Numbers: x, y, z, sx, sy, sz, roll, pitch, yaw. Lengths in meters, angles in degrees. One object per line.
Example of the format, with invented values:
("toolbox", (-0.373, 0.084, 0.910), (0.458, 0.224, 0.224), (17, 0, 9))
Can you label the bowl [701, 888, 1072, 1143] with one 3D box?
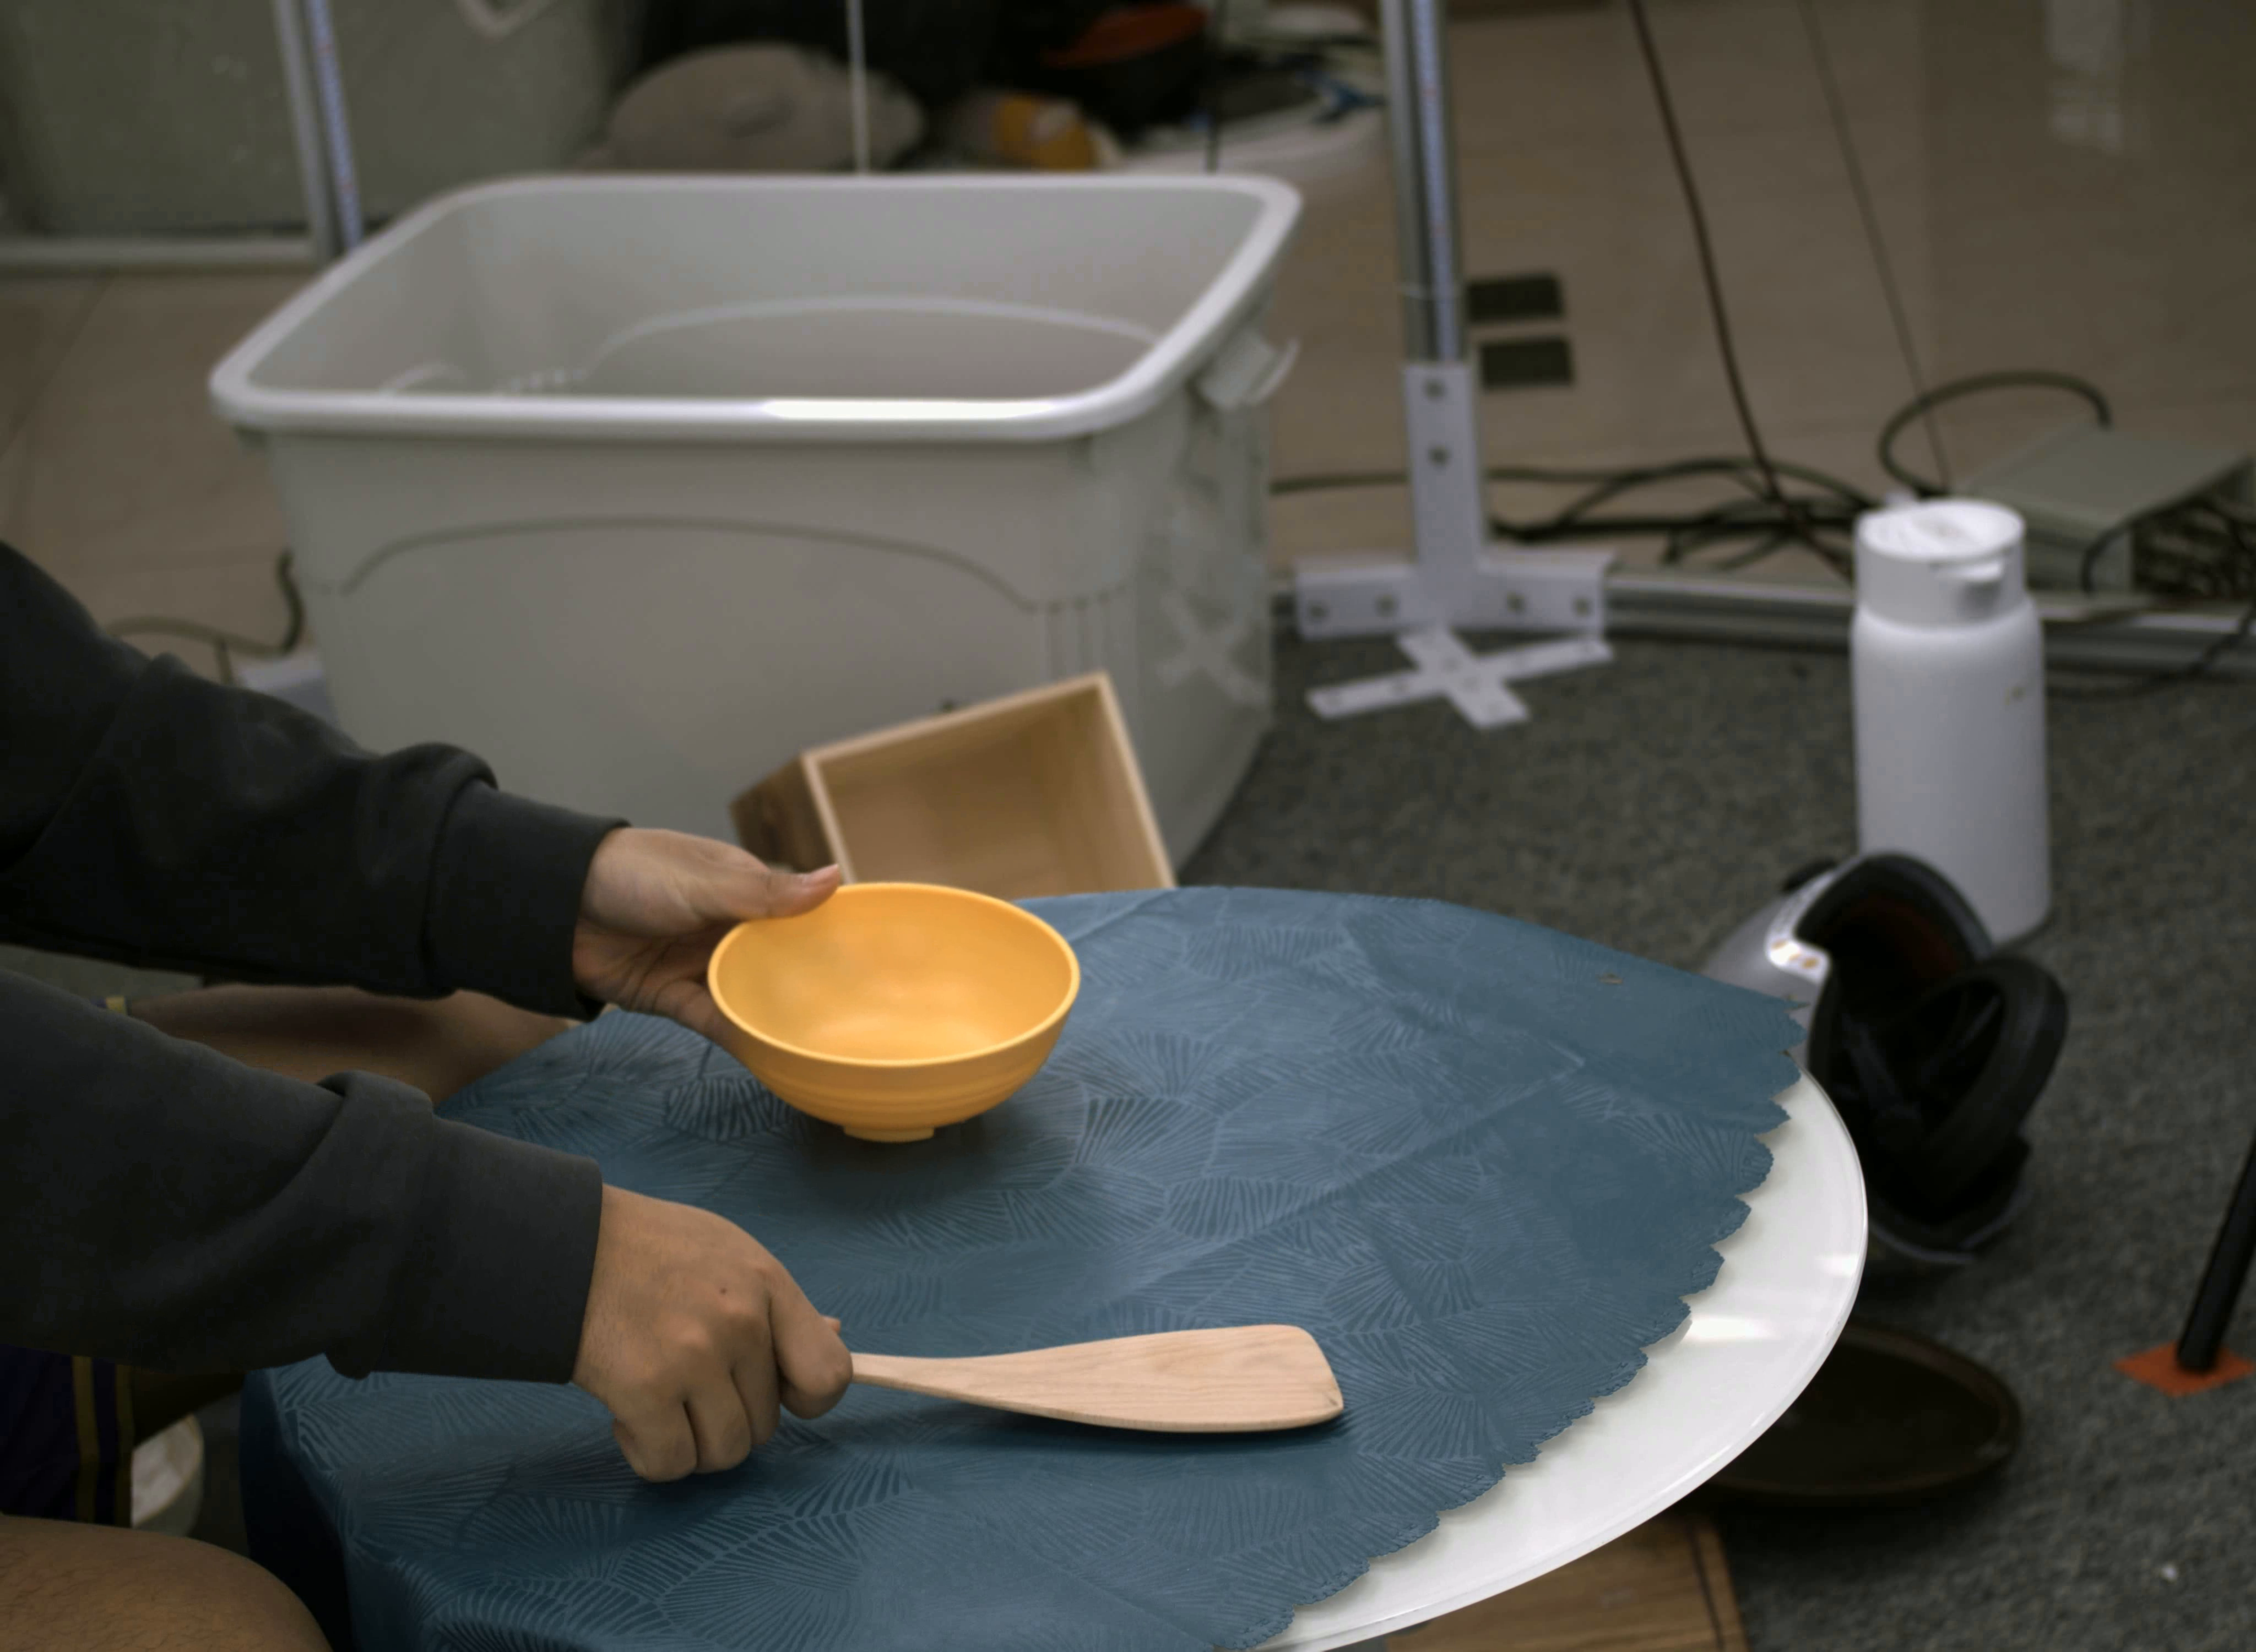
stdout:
("bowl", (-0.095, 0.082, 2.212), (0.145, 0.061, 0.143), (2, 27, -1))

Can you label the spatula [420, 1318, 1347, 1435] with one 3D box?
("spatula", (-0.086, 0.187, 2.004), (0.327, 0.017, 0.079), (4, 22, -1))
